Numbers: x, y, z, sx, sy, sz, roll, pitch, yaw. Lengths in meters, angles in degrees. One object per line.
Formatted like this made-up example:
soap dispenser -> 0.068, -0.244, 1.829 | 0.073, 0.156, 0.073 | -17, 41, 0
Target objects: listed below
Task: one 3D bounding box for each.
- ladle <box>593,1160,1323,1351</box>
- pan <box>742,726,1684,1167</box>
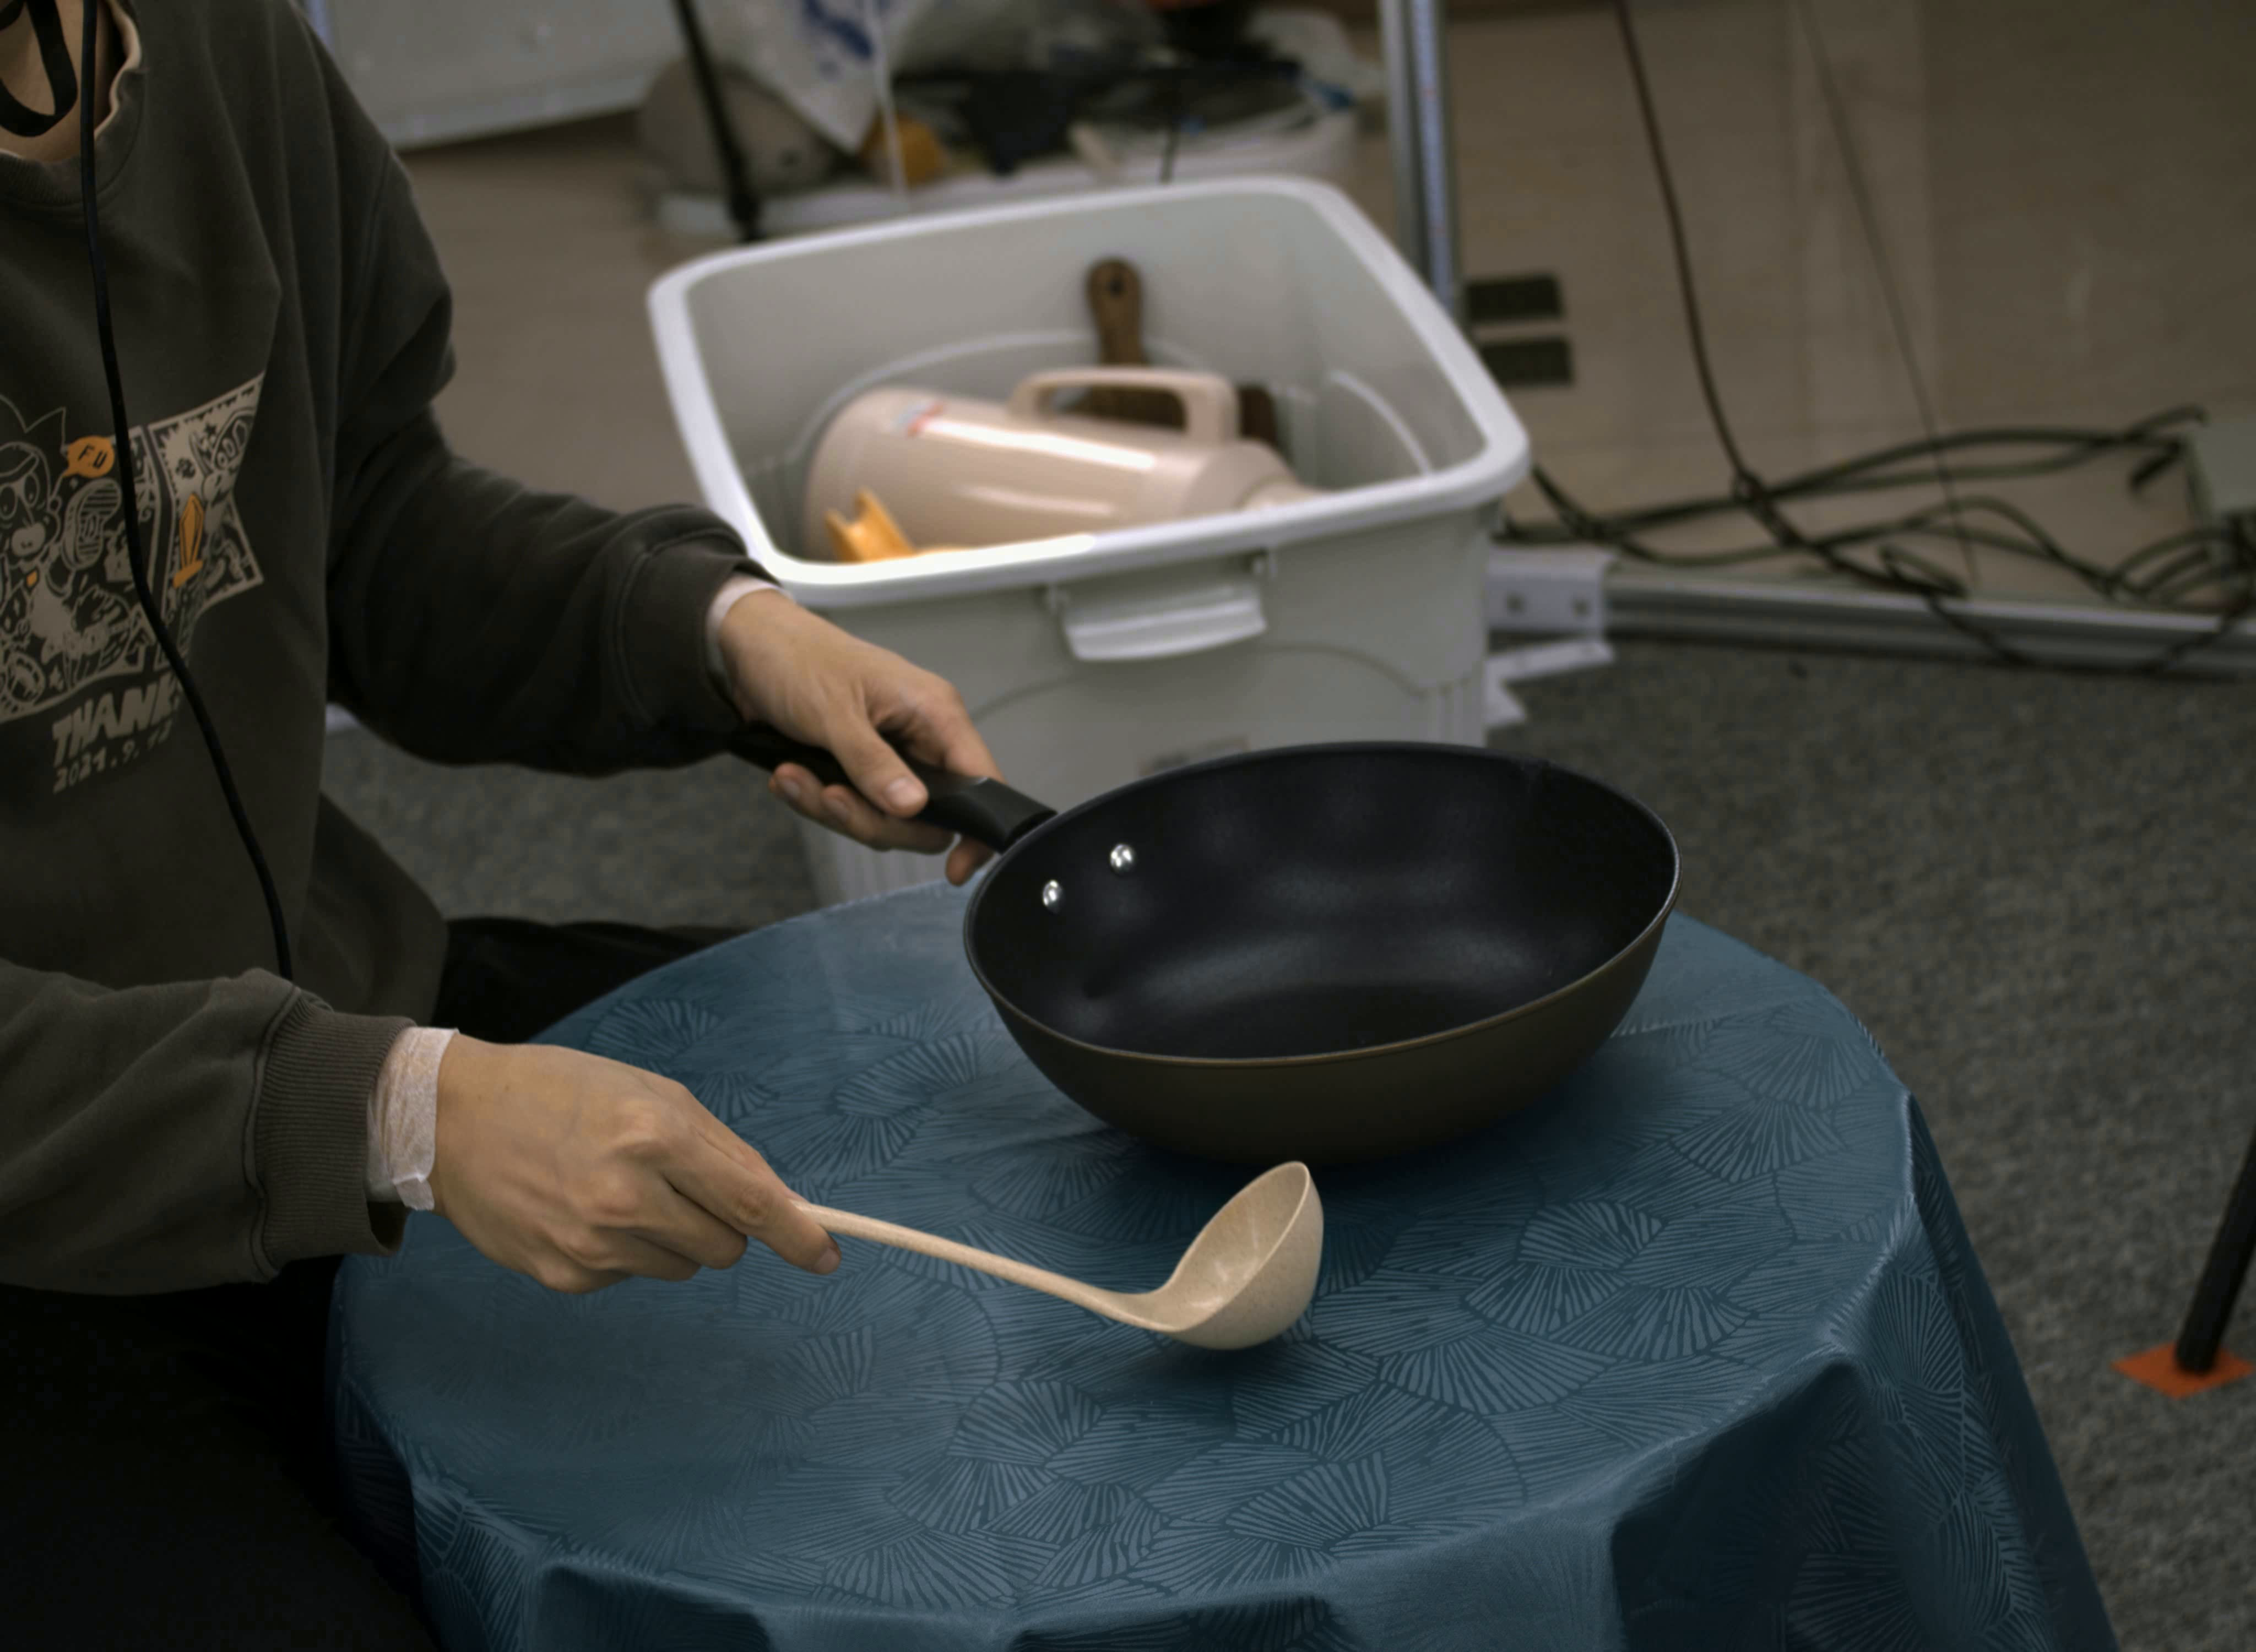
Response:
ladle -> -0.056, 0.125, 1.986 | 0.255, 0.074, 0.071 | 15, 21, -13
pan -> 0.011, 0.041, 2.254 | 0.460, 0.088, 0.285 | 15, 33, 40
